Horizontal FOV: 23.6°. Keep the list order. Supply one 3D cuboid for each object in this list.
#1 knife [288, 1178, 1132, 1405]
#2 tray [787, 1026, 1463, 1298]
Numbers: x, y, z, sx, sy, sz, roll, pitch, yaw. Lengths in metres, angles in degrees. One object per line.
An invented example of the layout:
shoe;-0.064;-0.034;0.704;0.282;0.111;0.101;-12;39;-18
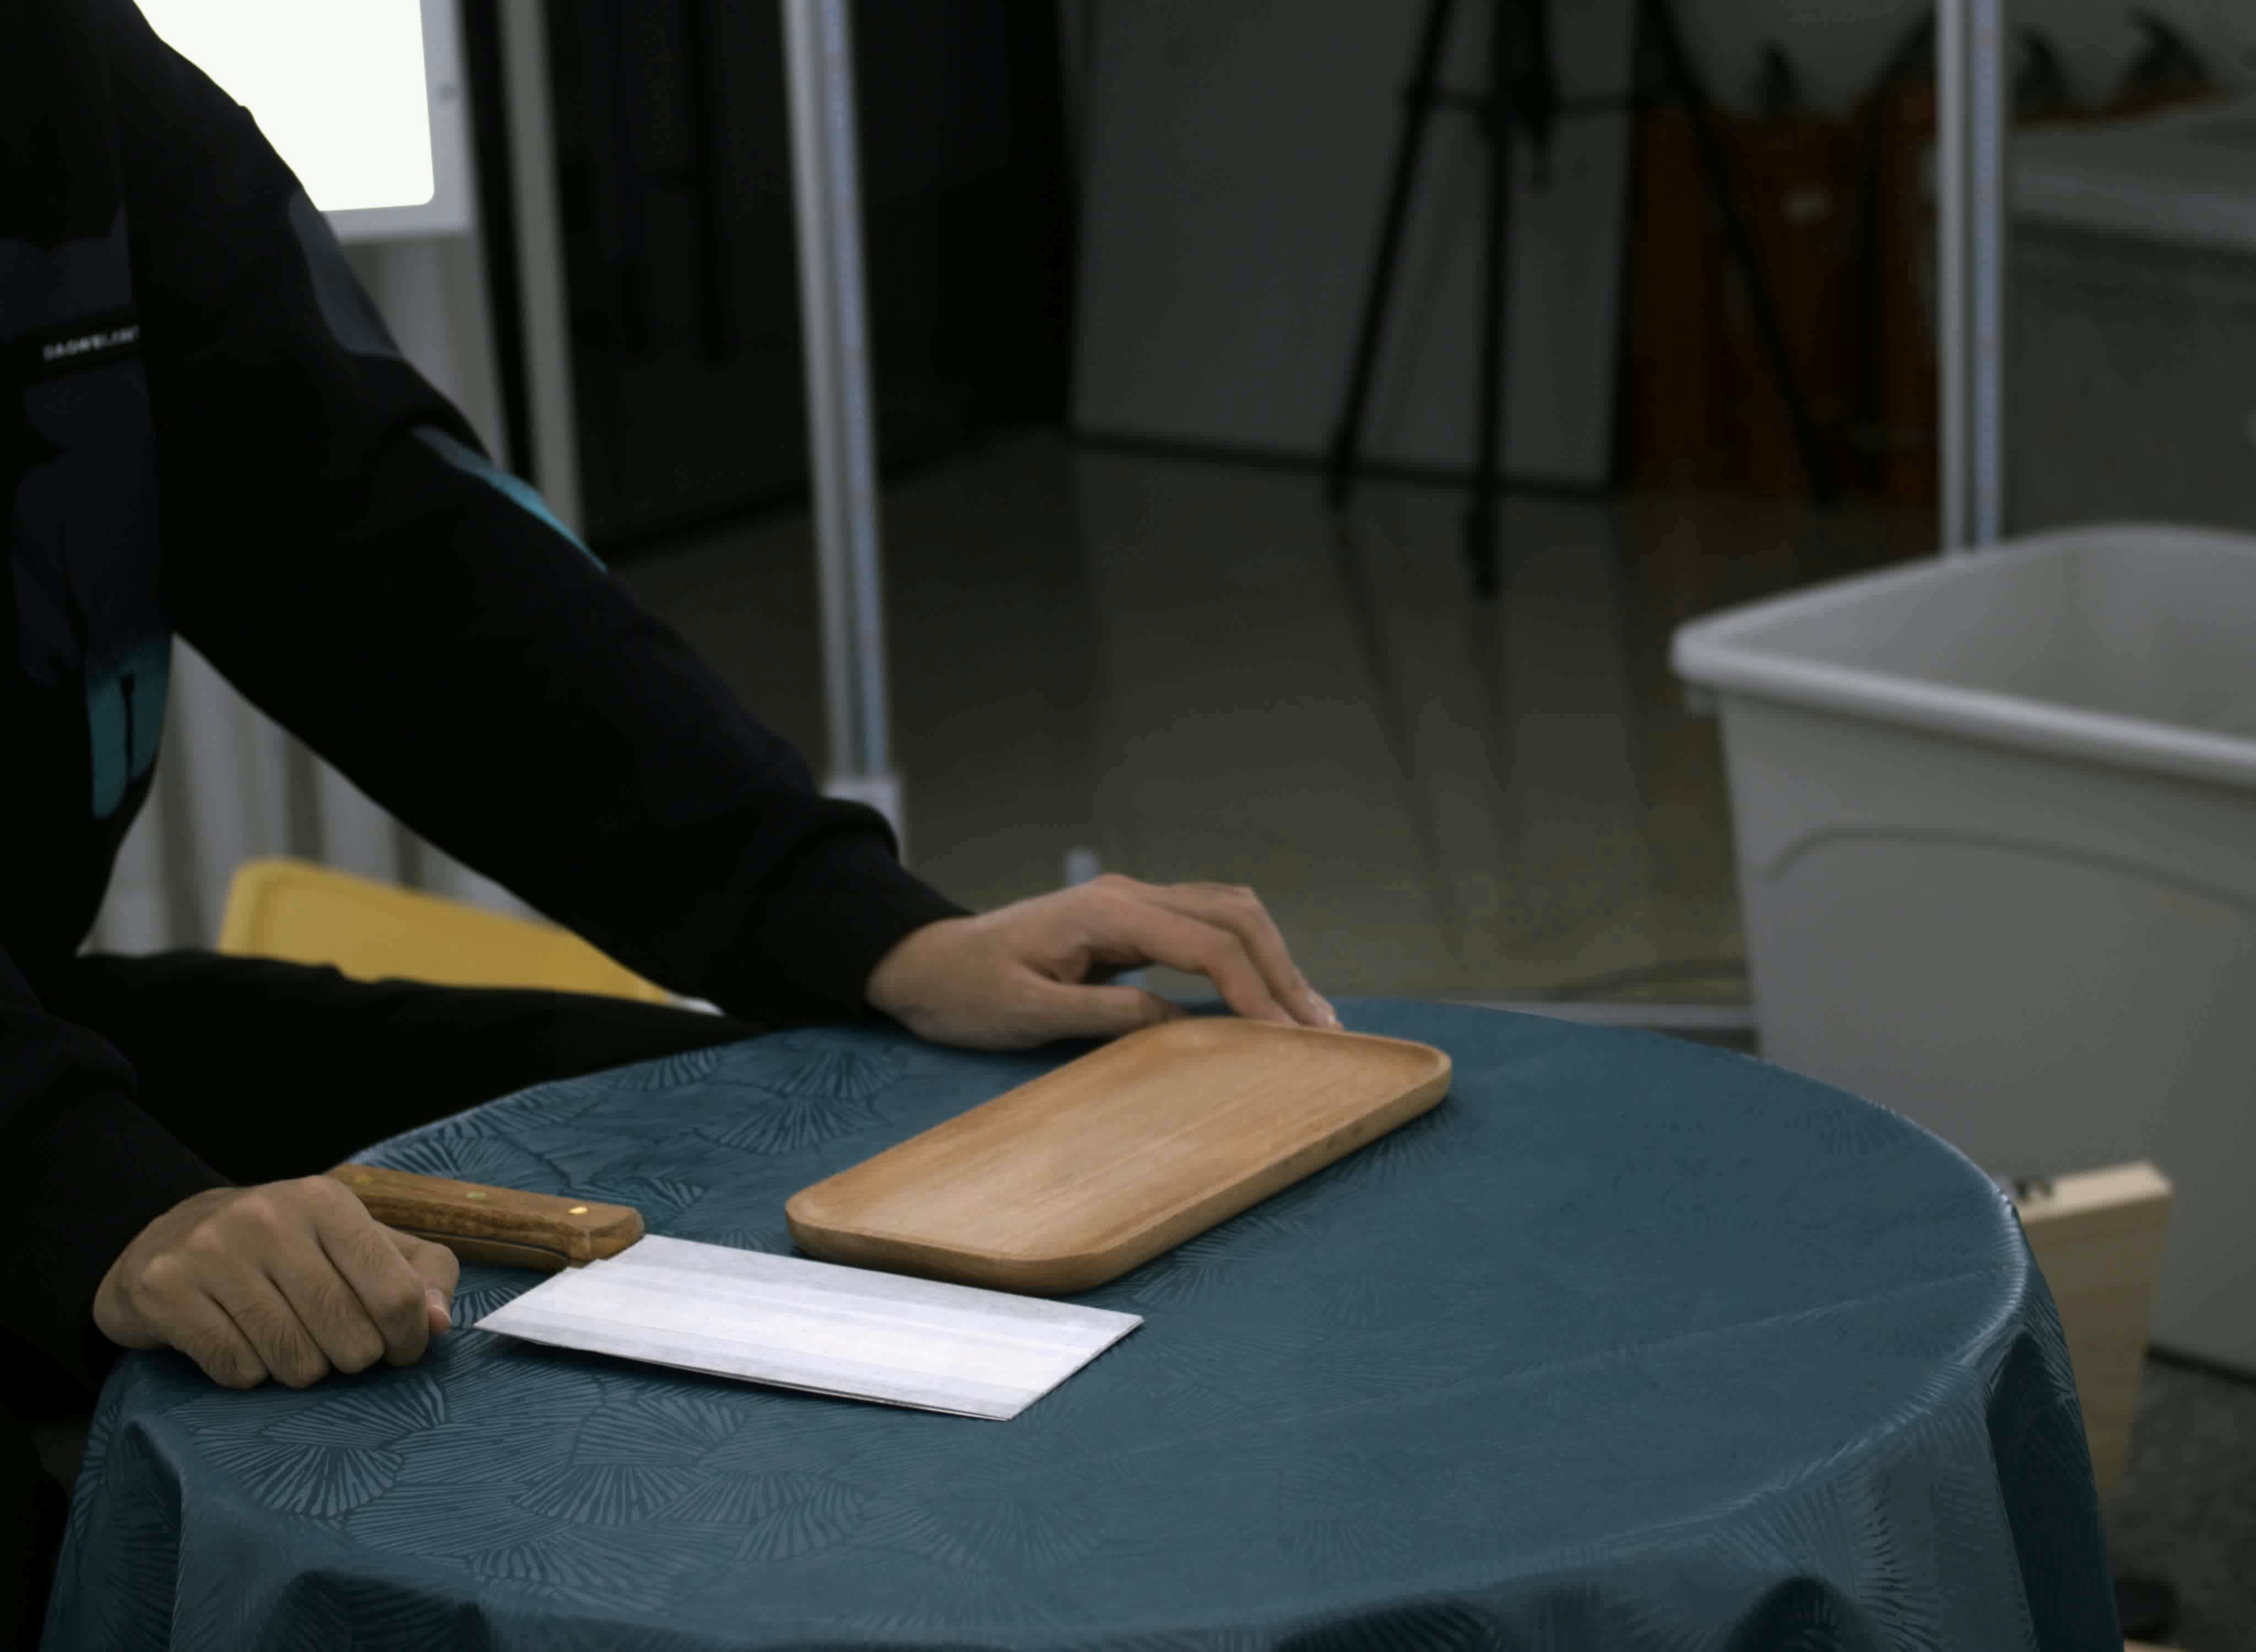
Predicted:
knife;-0.147;0.147;1.678;0.307;0.021;0.091;6;19;29
tray;0.003;0.109;1.787;0.131;0.023;0.246;9;18;36
